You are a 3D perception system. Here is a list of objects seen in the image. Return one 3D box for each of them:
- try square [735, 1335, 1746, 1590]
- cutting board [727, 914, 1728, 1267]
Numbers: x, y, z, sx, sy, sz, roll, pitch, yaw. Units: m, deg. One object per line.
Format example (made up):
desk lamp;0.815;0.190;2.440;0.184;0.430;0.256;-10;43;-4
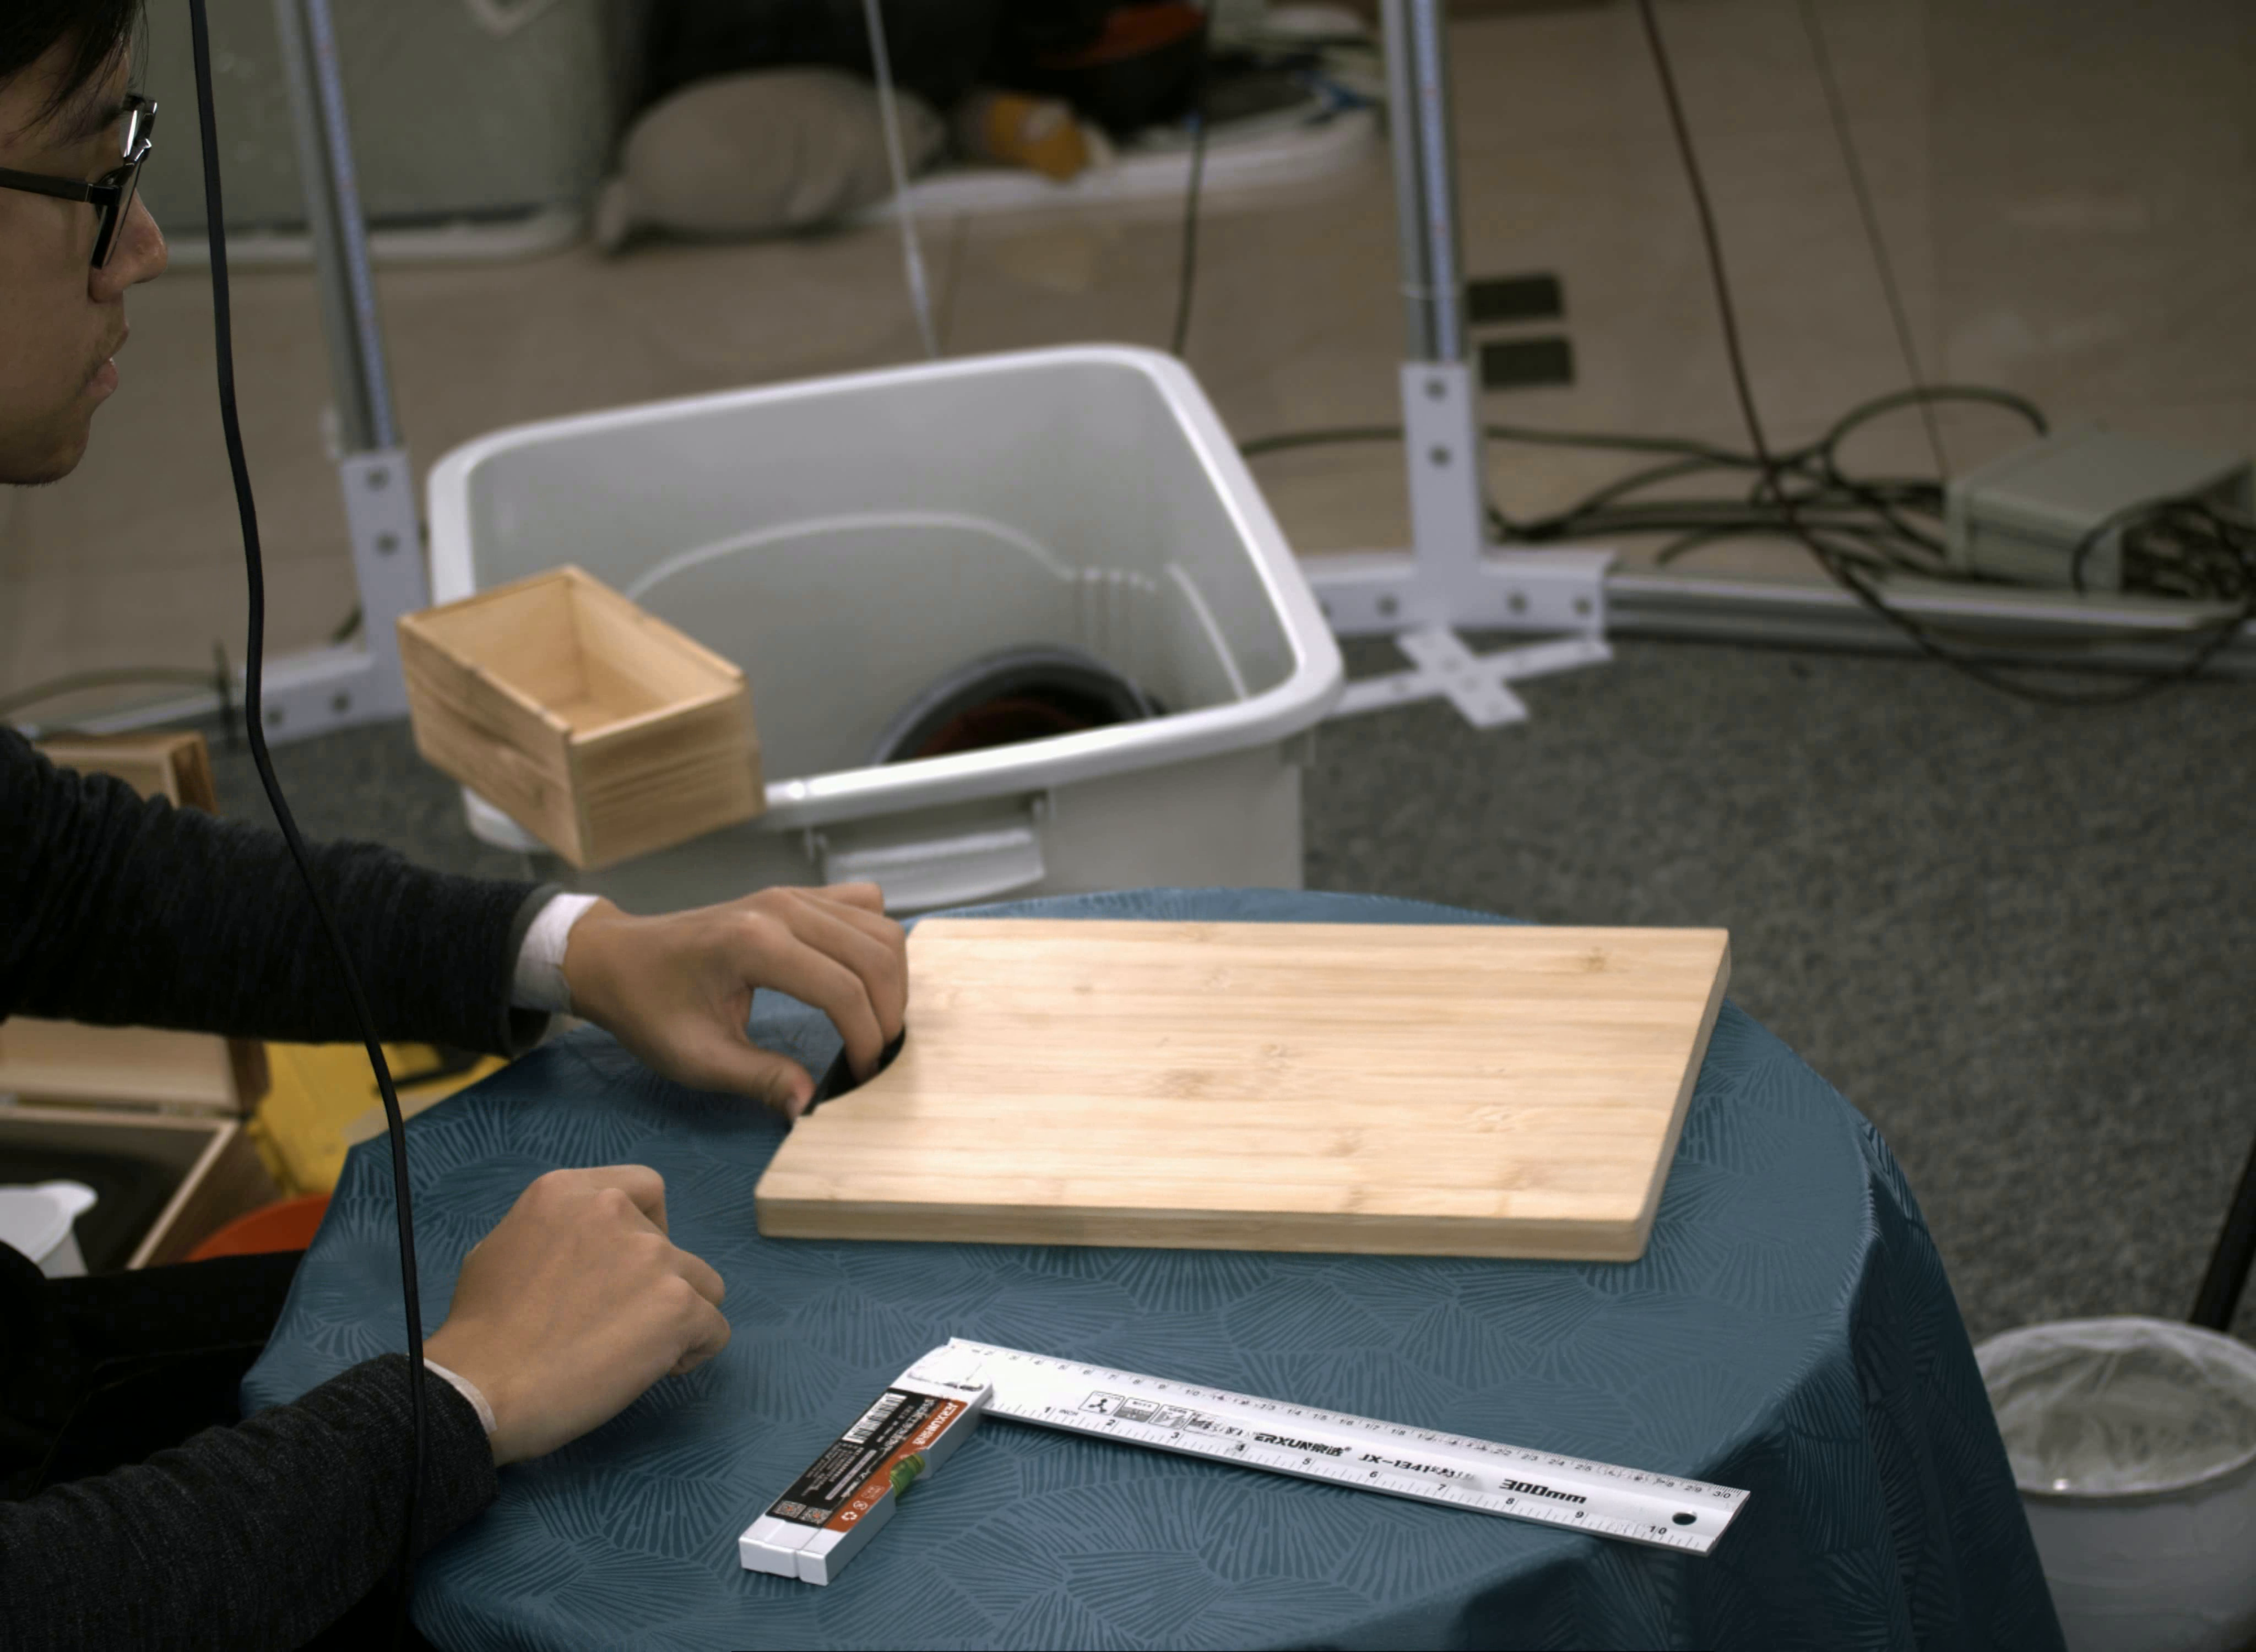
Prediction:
try square;0.036;0.236;1.925;0.311;0.016;0.150;8;30;27
cutting board;0.044;0.099;2.205;0.348;0.024;0.247;1;26;15
